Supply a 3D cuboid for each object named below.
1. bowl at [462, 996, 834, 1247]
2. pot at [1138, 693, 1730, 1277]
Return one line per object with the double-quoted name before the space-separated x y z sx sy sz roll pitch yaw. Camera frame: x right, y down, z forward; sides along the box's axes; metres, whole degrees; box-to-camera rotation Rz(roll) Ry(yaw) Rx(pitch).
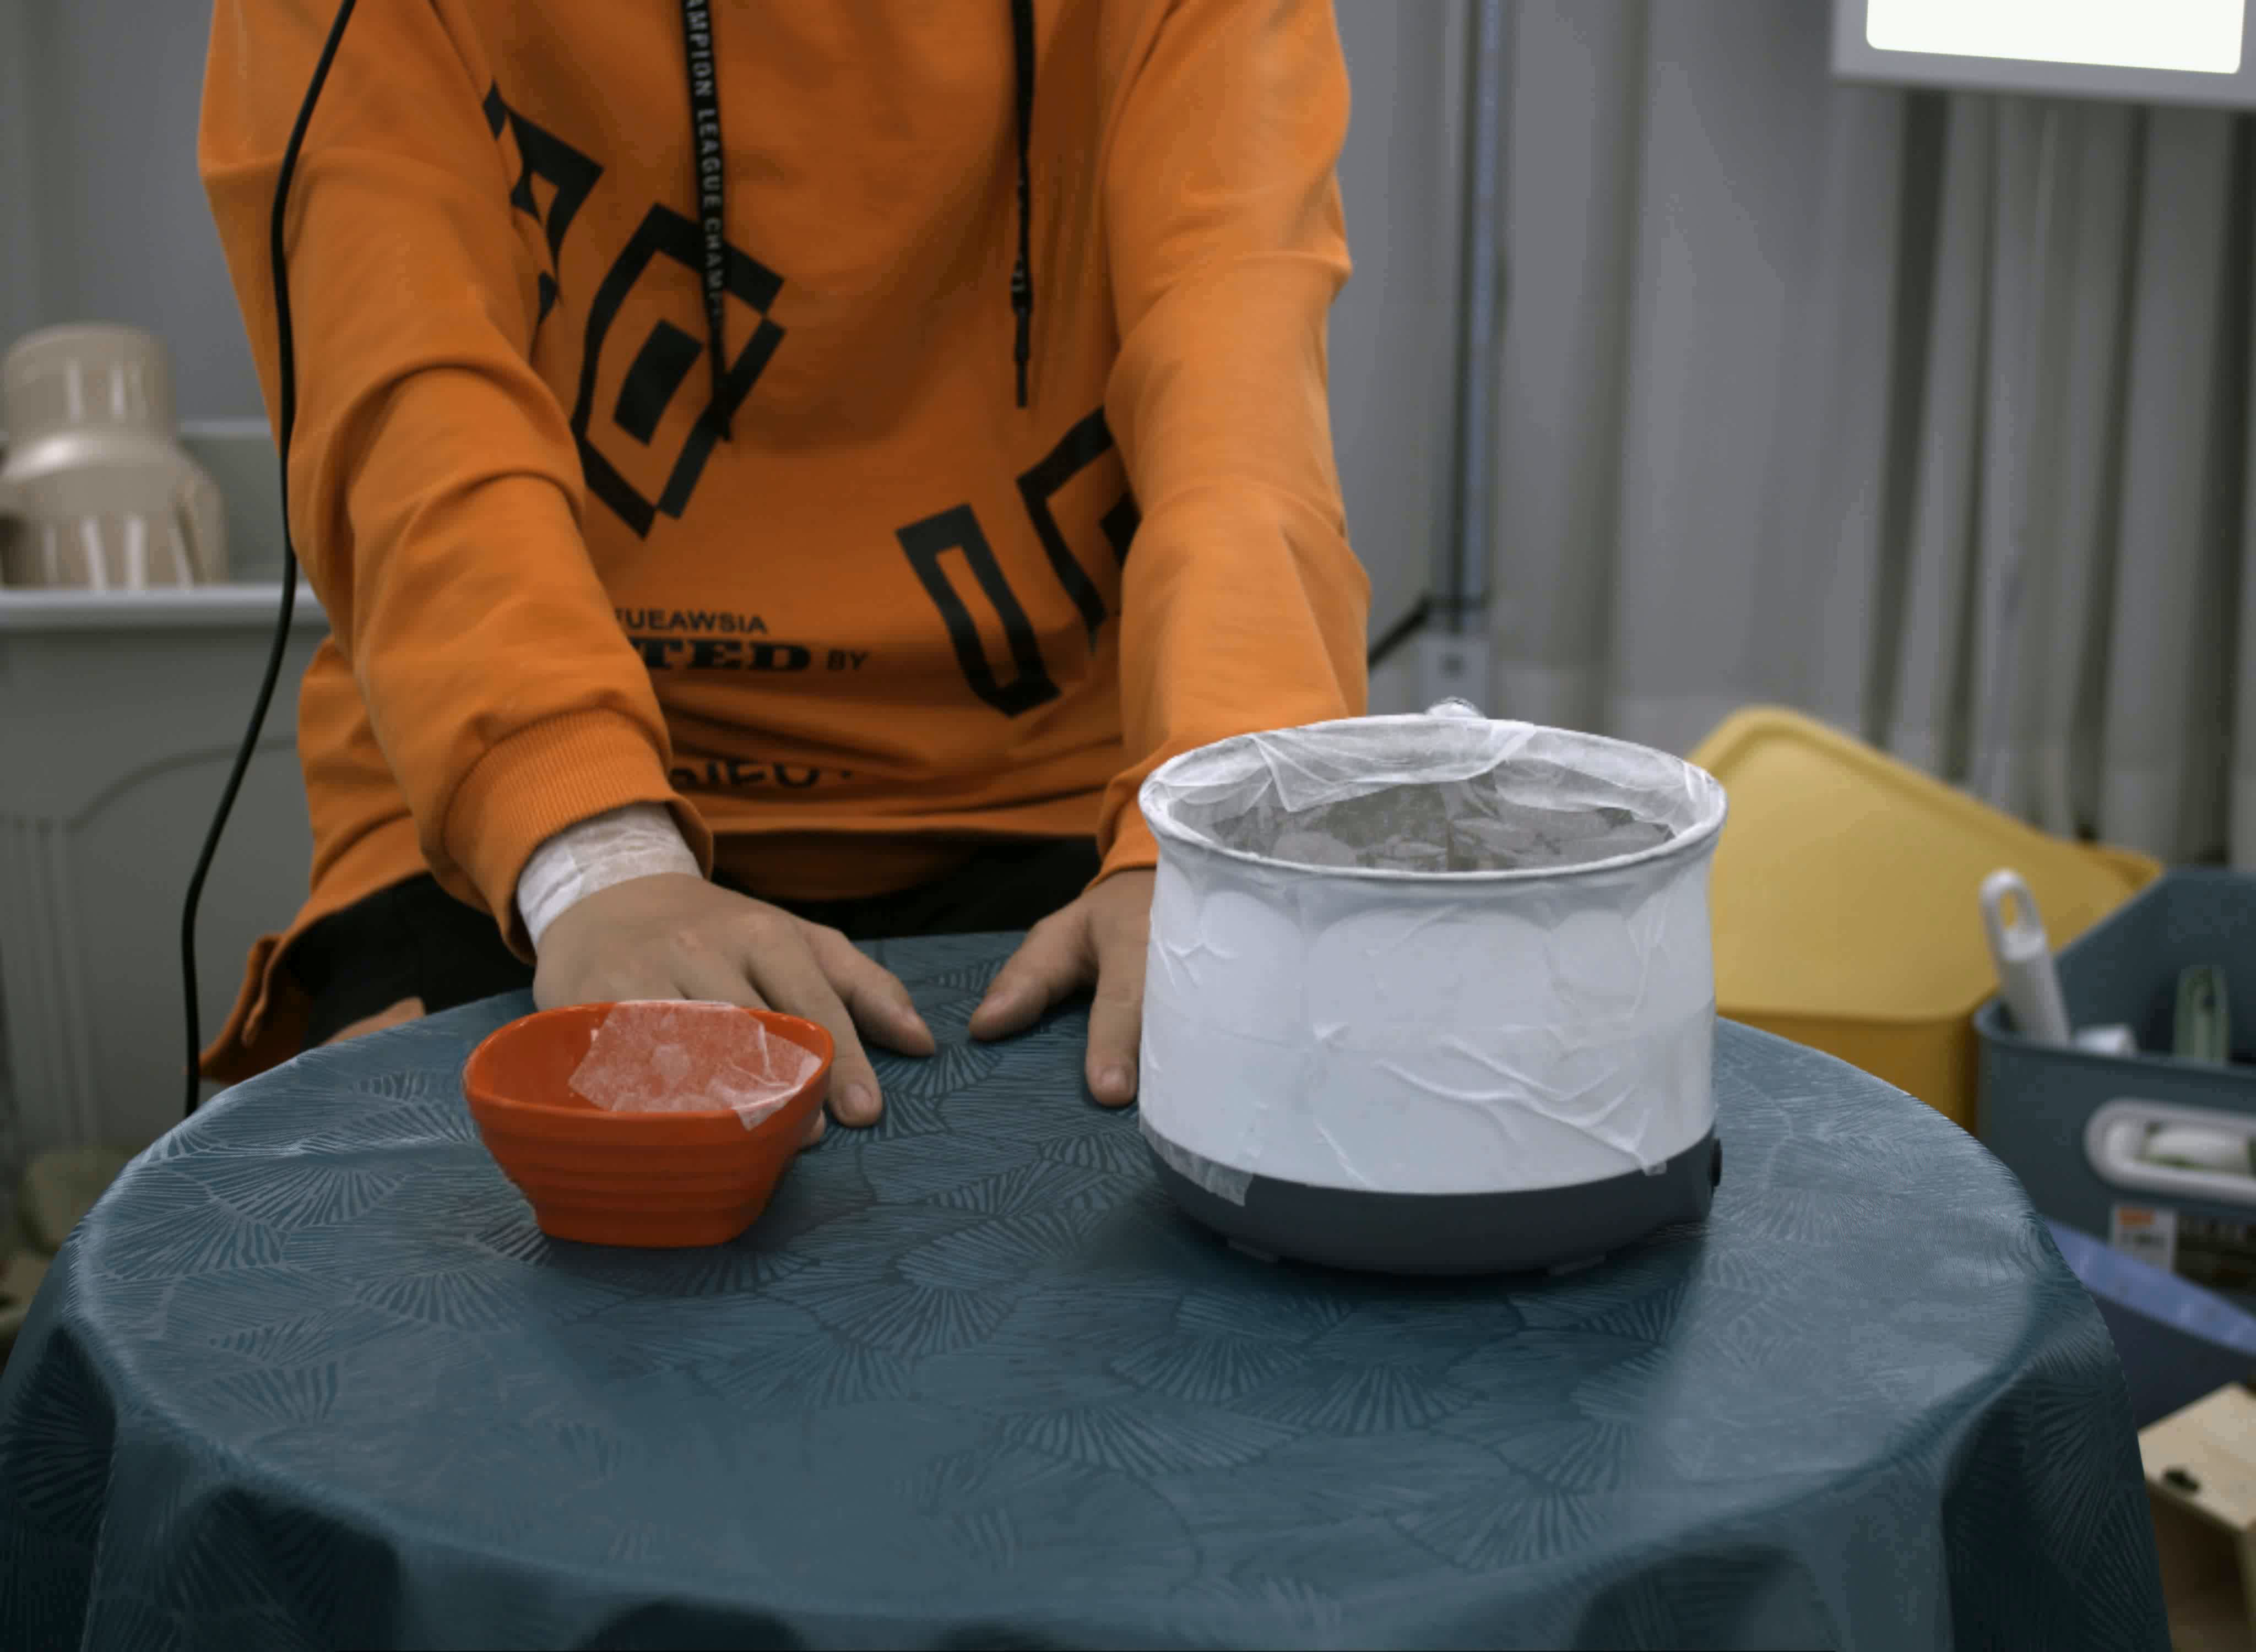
"bowl" -0.144 0.092 1.595 0.118 0.052 0.118 -1 17 1
"pot" 0.094 0.043 1.616 0.178 0.138 0.233 2 16 5
